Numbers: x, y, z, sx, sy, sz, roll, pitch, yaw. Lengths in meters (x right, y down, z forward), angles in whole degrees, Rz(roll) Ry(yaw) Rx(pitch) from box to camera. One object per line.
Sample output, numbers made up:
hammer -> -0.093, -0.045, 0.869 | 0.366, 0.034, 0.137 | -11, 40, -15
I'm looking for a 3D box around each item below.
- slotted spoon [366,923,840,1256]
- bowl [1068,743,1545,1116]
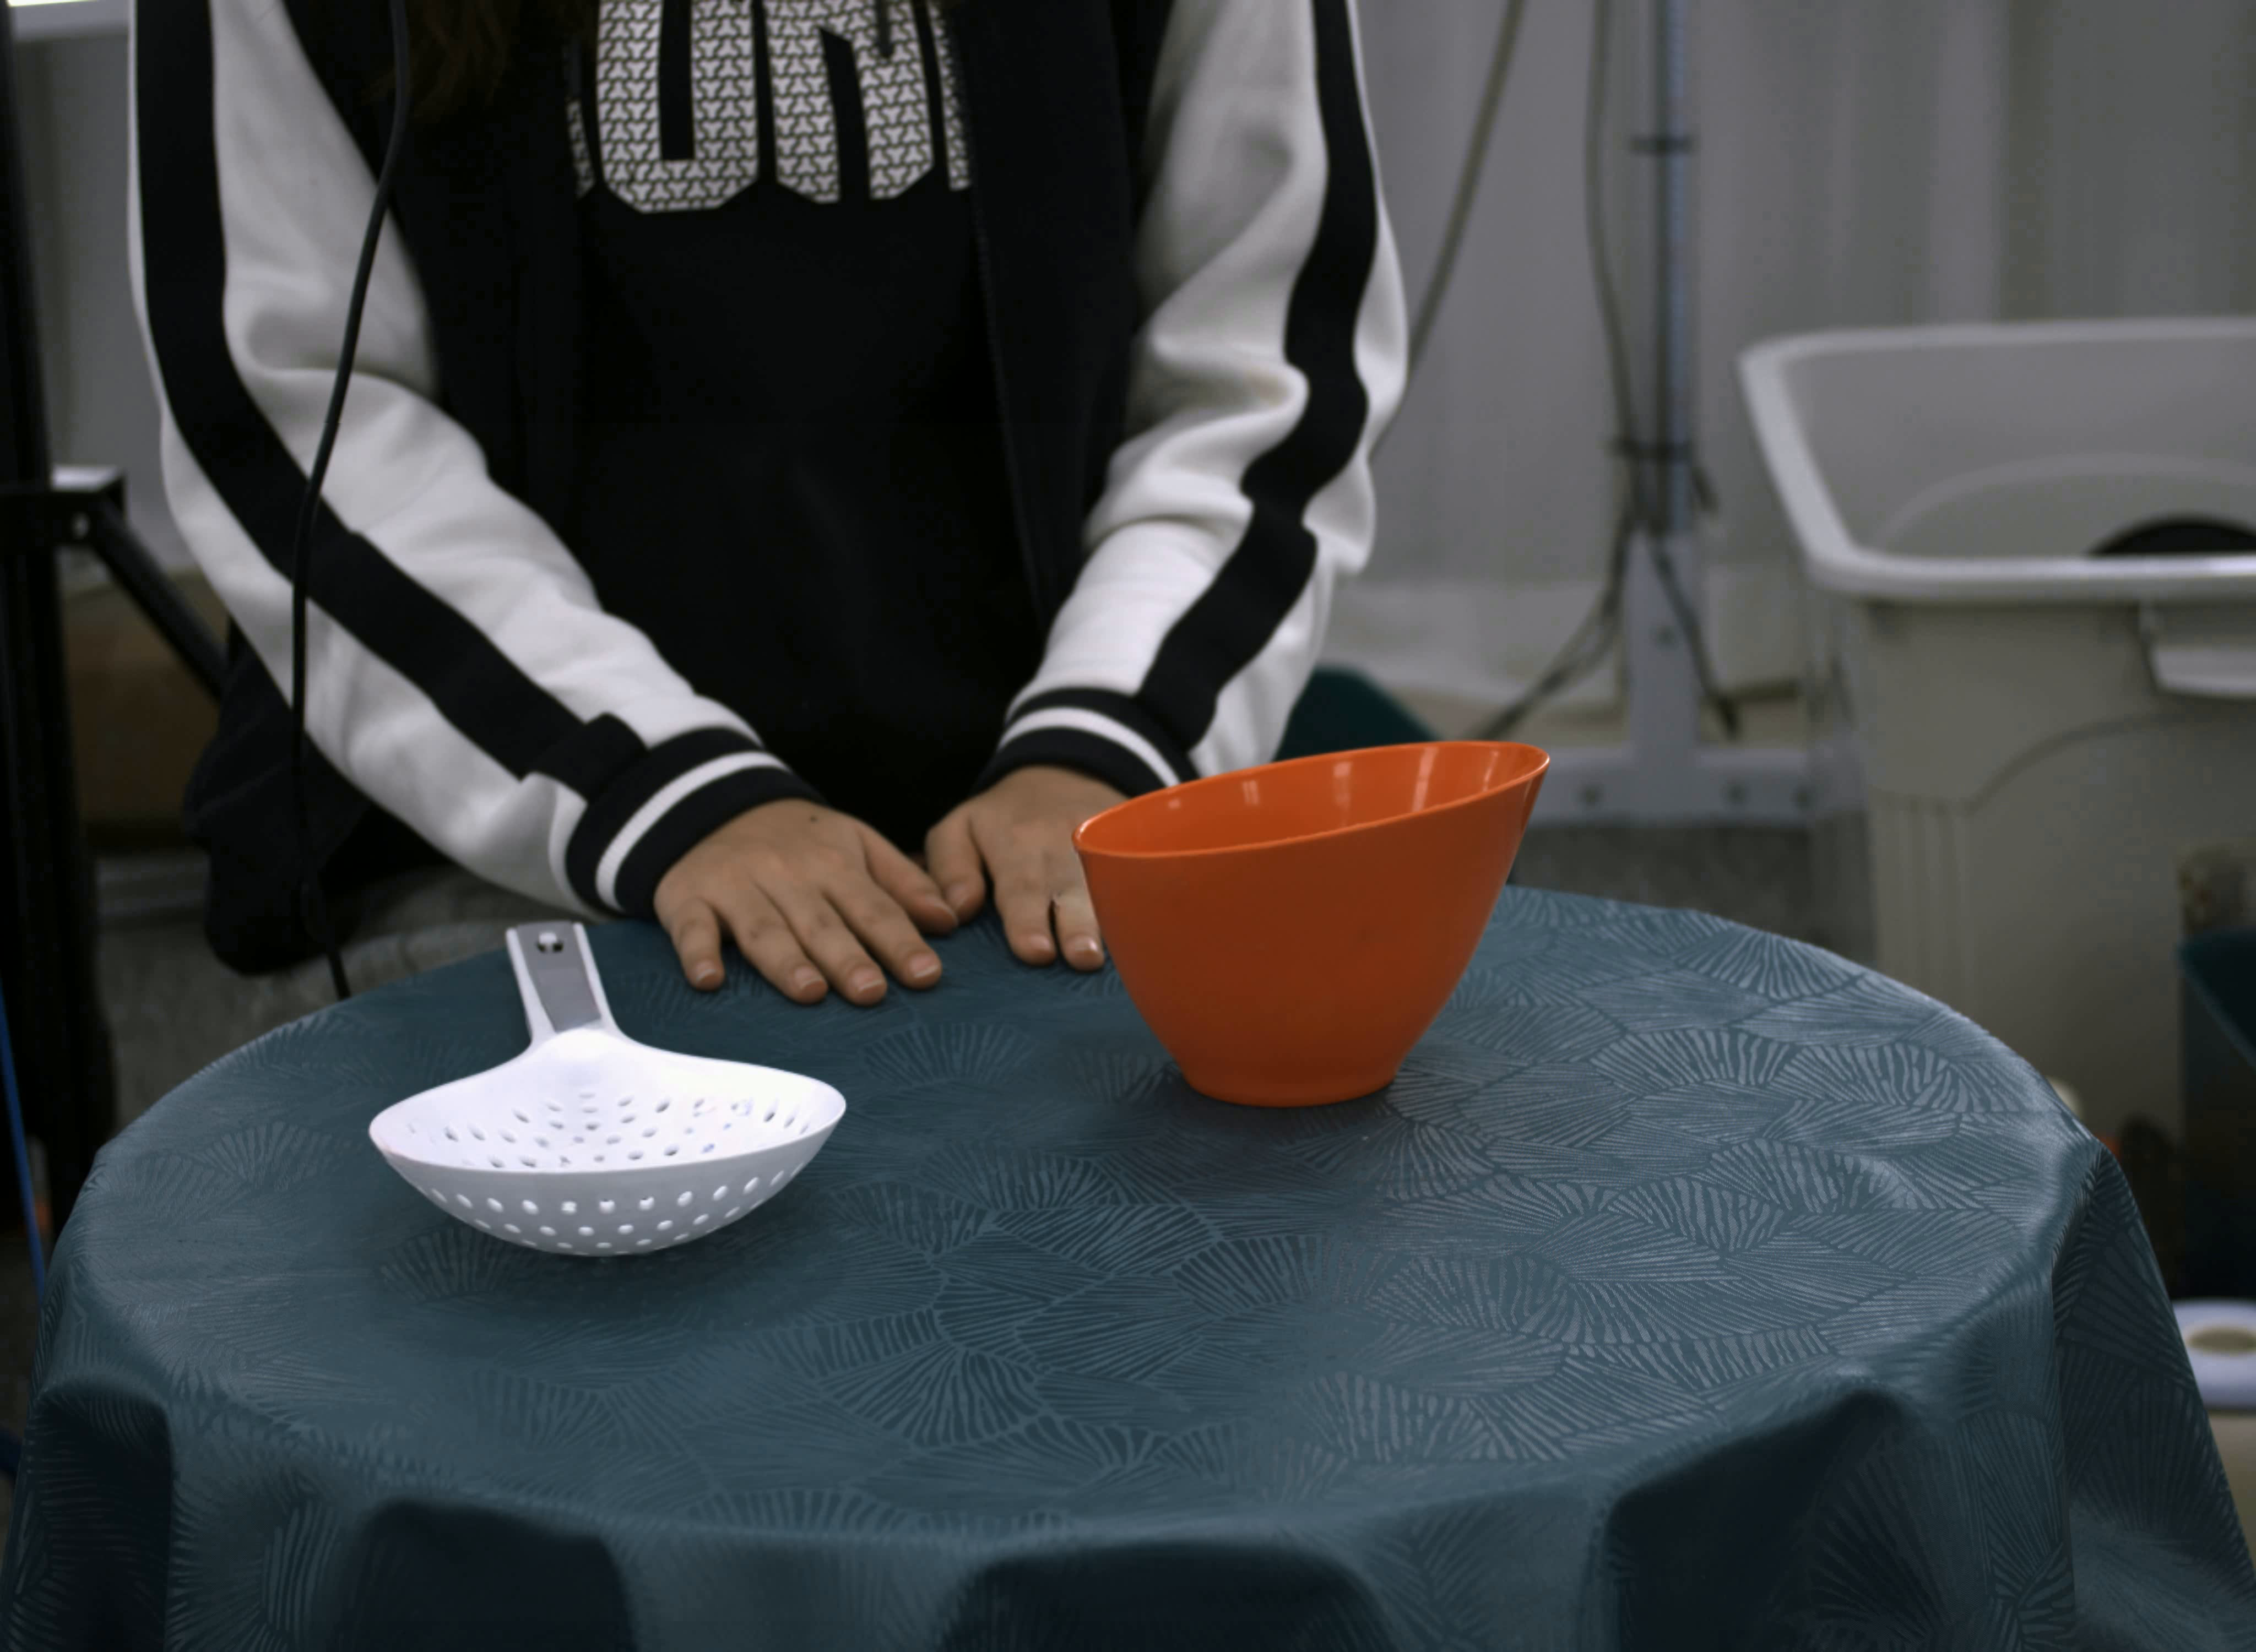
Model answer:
slotted spoon -> -0.167, 0.071, 1.633 | 0.134, 0.046, 0.353 | -4, 15, -9
bowl -> 0.056, 0.032, 1.635 | 0.147, 0.104, 0.149 | -4, 16, 0
